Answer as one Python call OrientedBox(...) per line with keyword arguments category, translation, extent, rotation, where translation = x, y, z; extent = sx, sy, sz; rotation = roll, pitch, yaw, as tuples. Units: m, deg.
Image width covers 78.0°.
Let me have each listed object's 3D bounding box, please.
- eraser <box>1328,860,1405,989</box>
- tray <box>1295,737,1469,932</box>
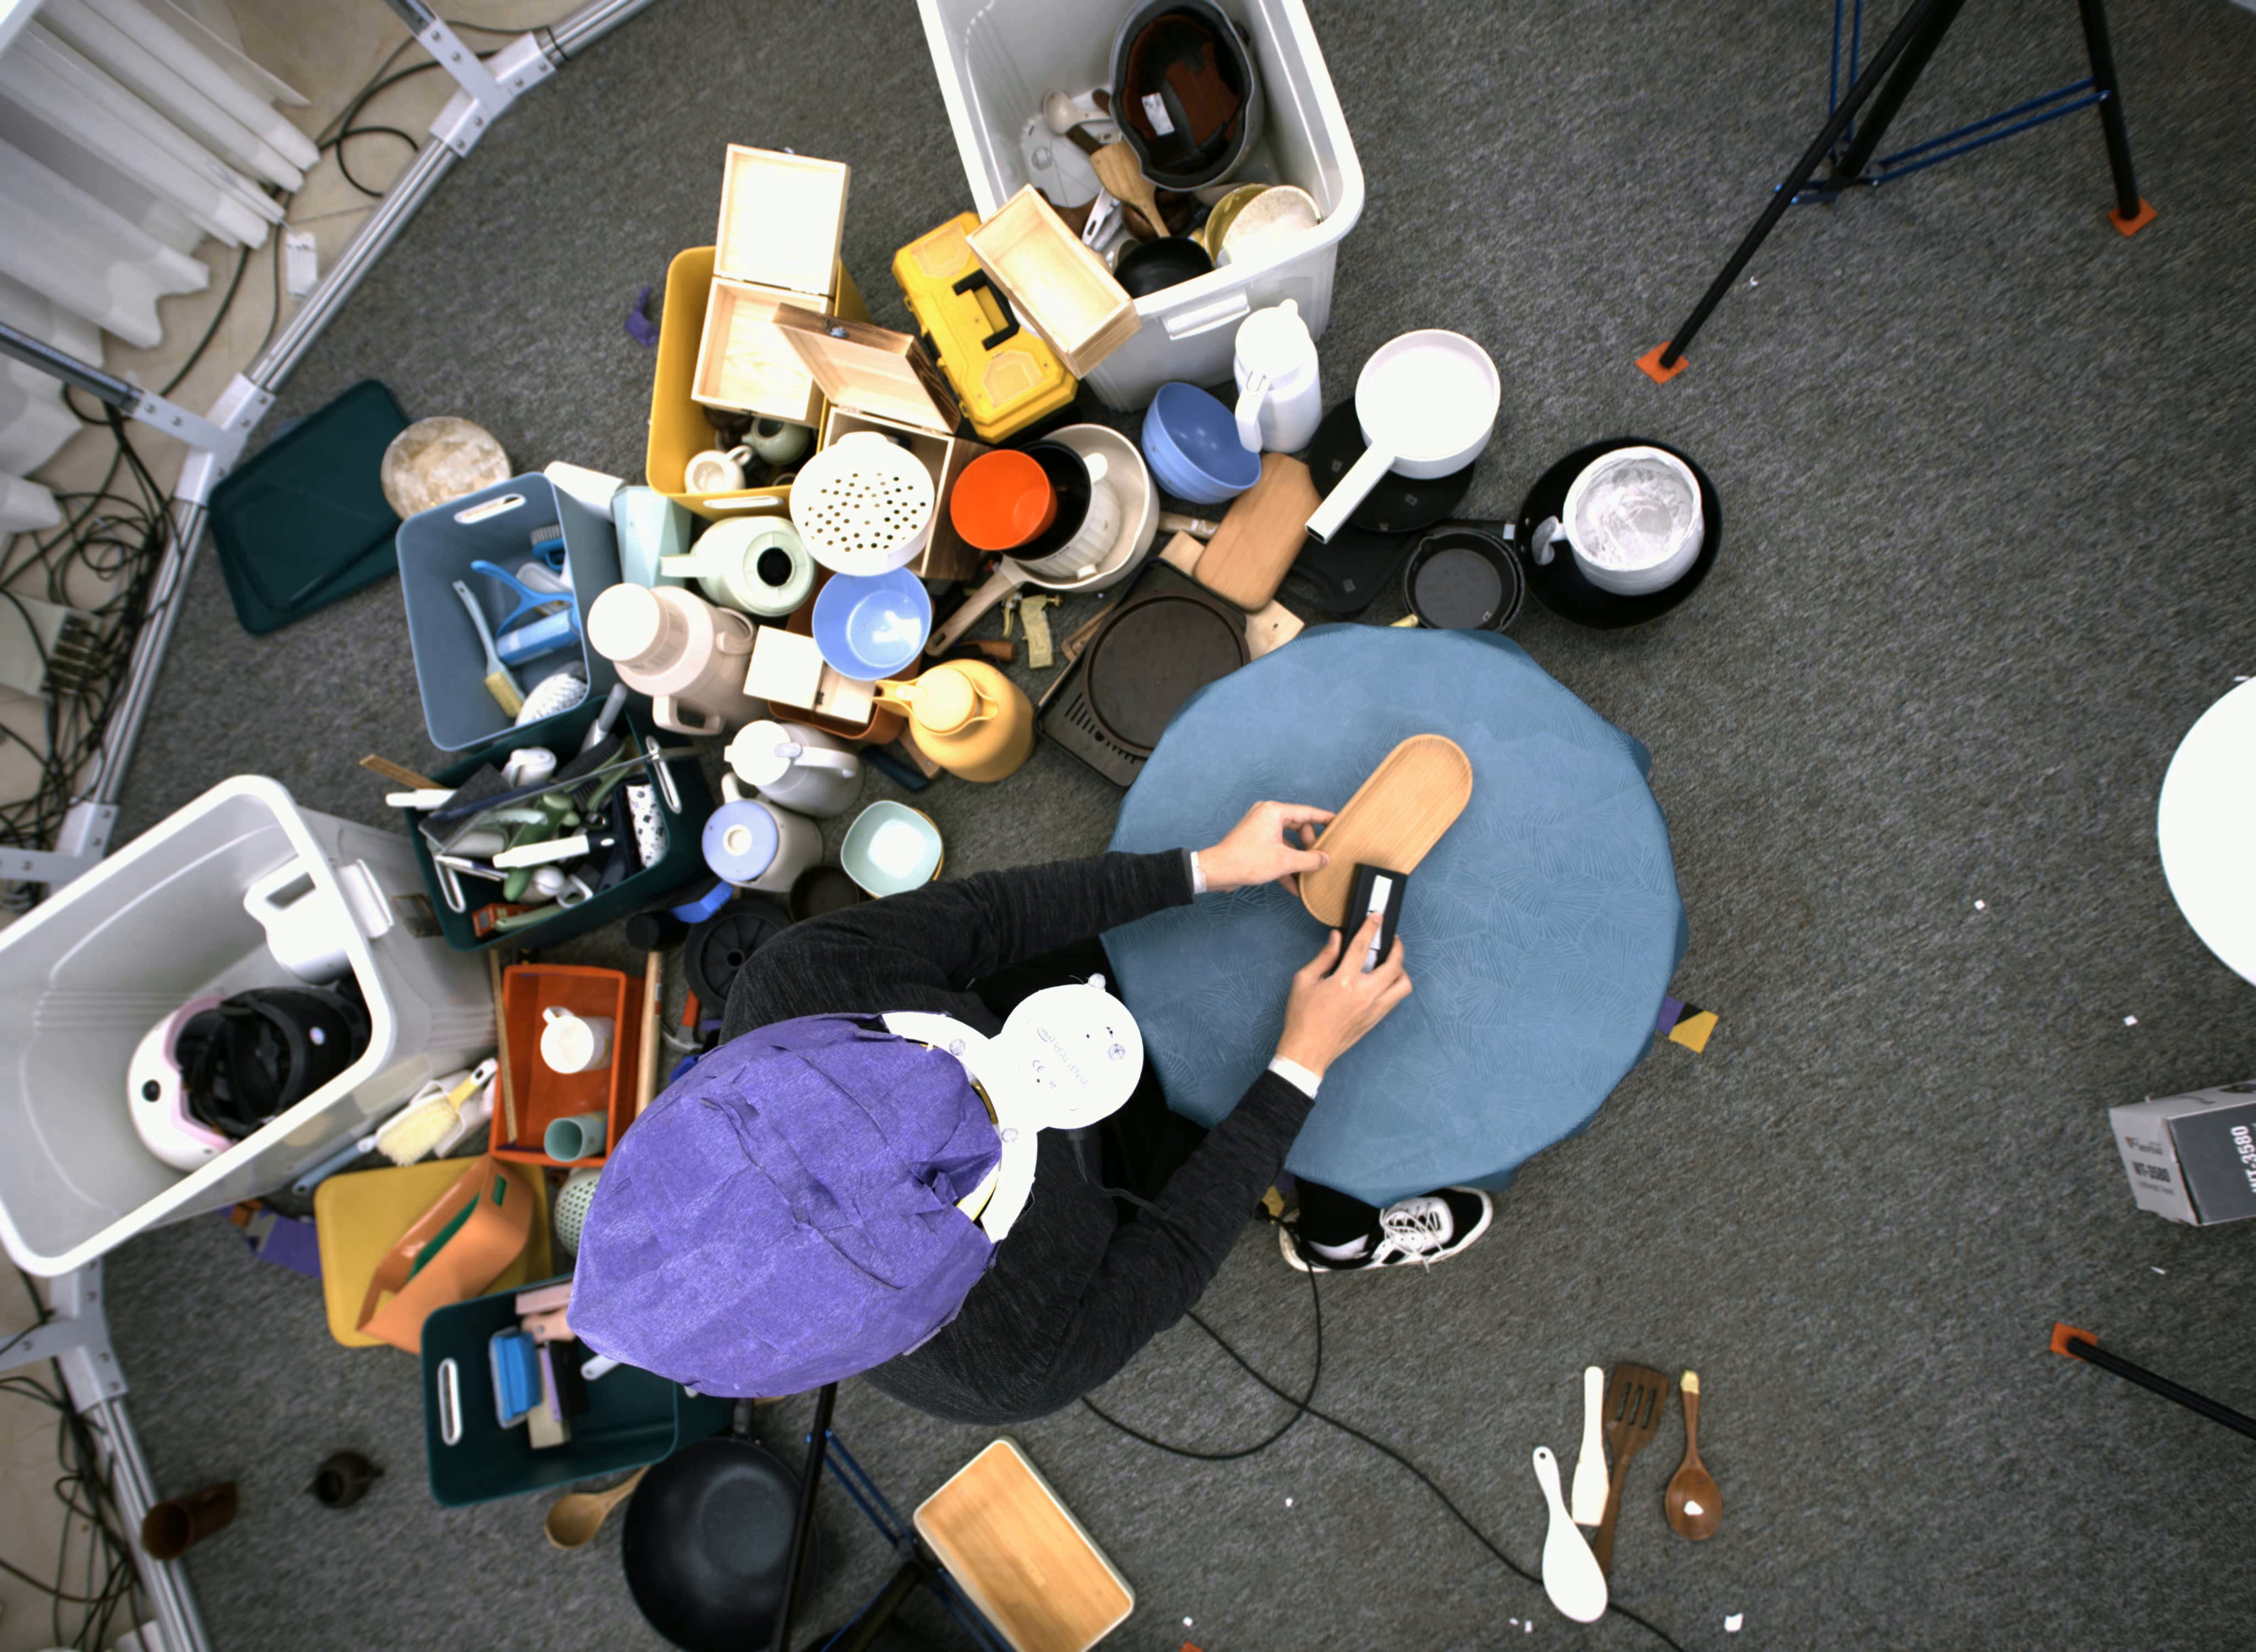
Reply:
OrientedBox(category="eraser", translation=(0.242, 0.098, 1.409), extent=(0.053, 0.030, 0.125), rotation=(12, 91, -4))
OrientedBox(category="tray", translation=(0.261, 0.007, 1.420), extent=(0.102, 0.020, 0.231), rotation=(40, 91, -15))
